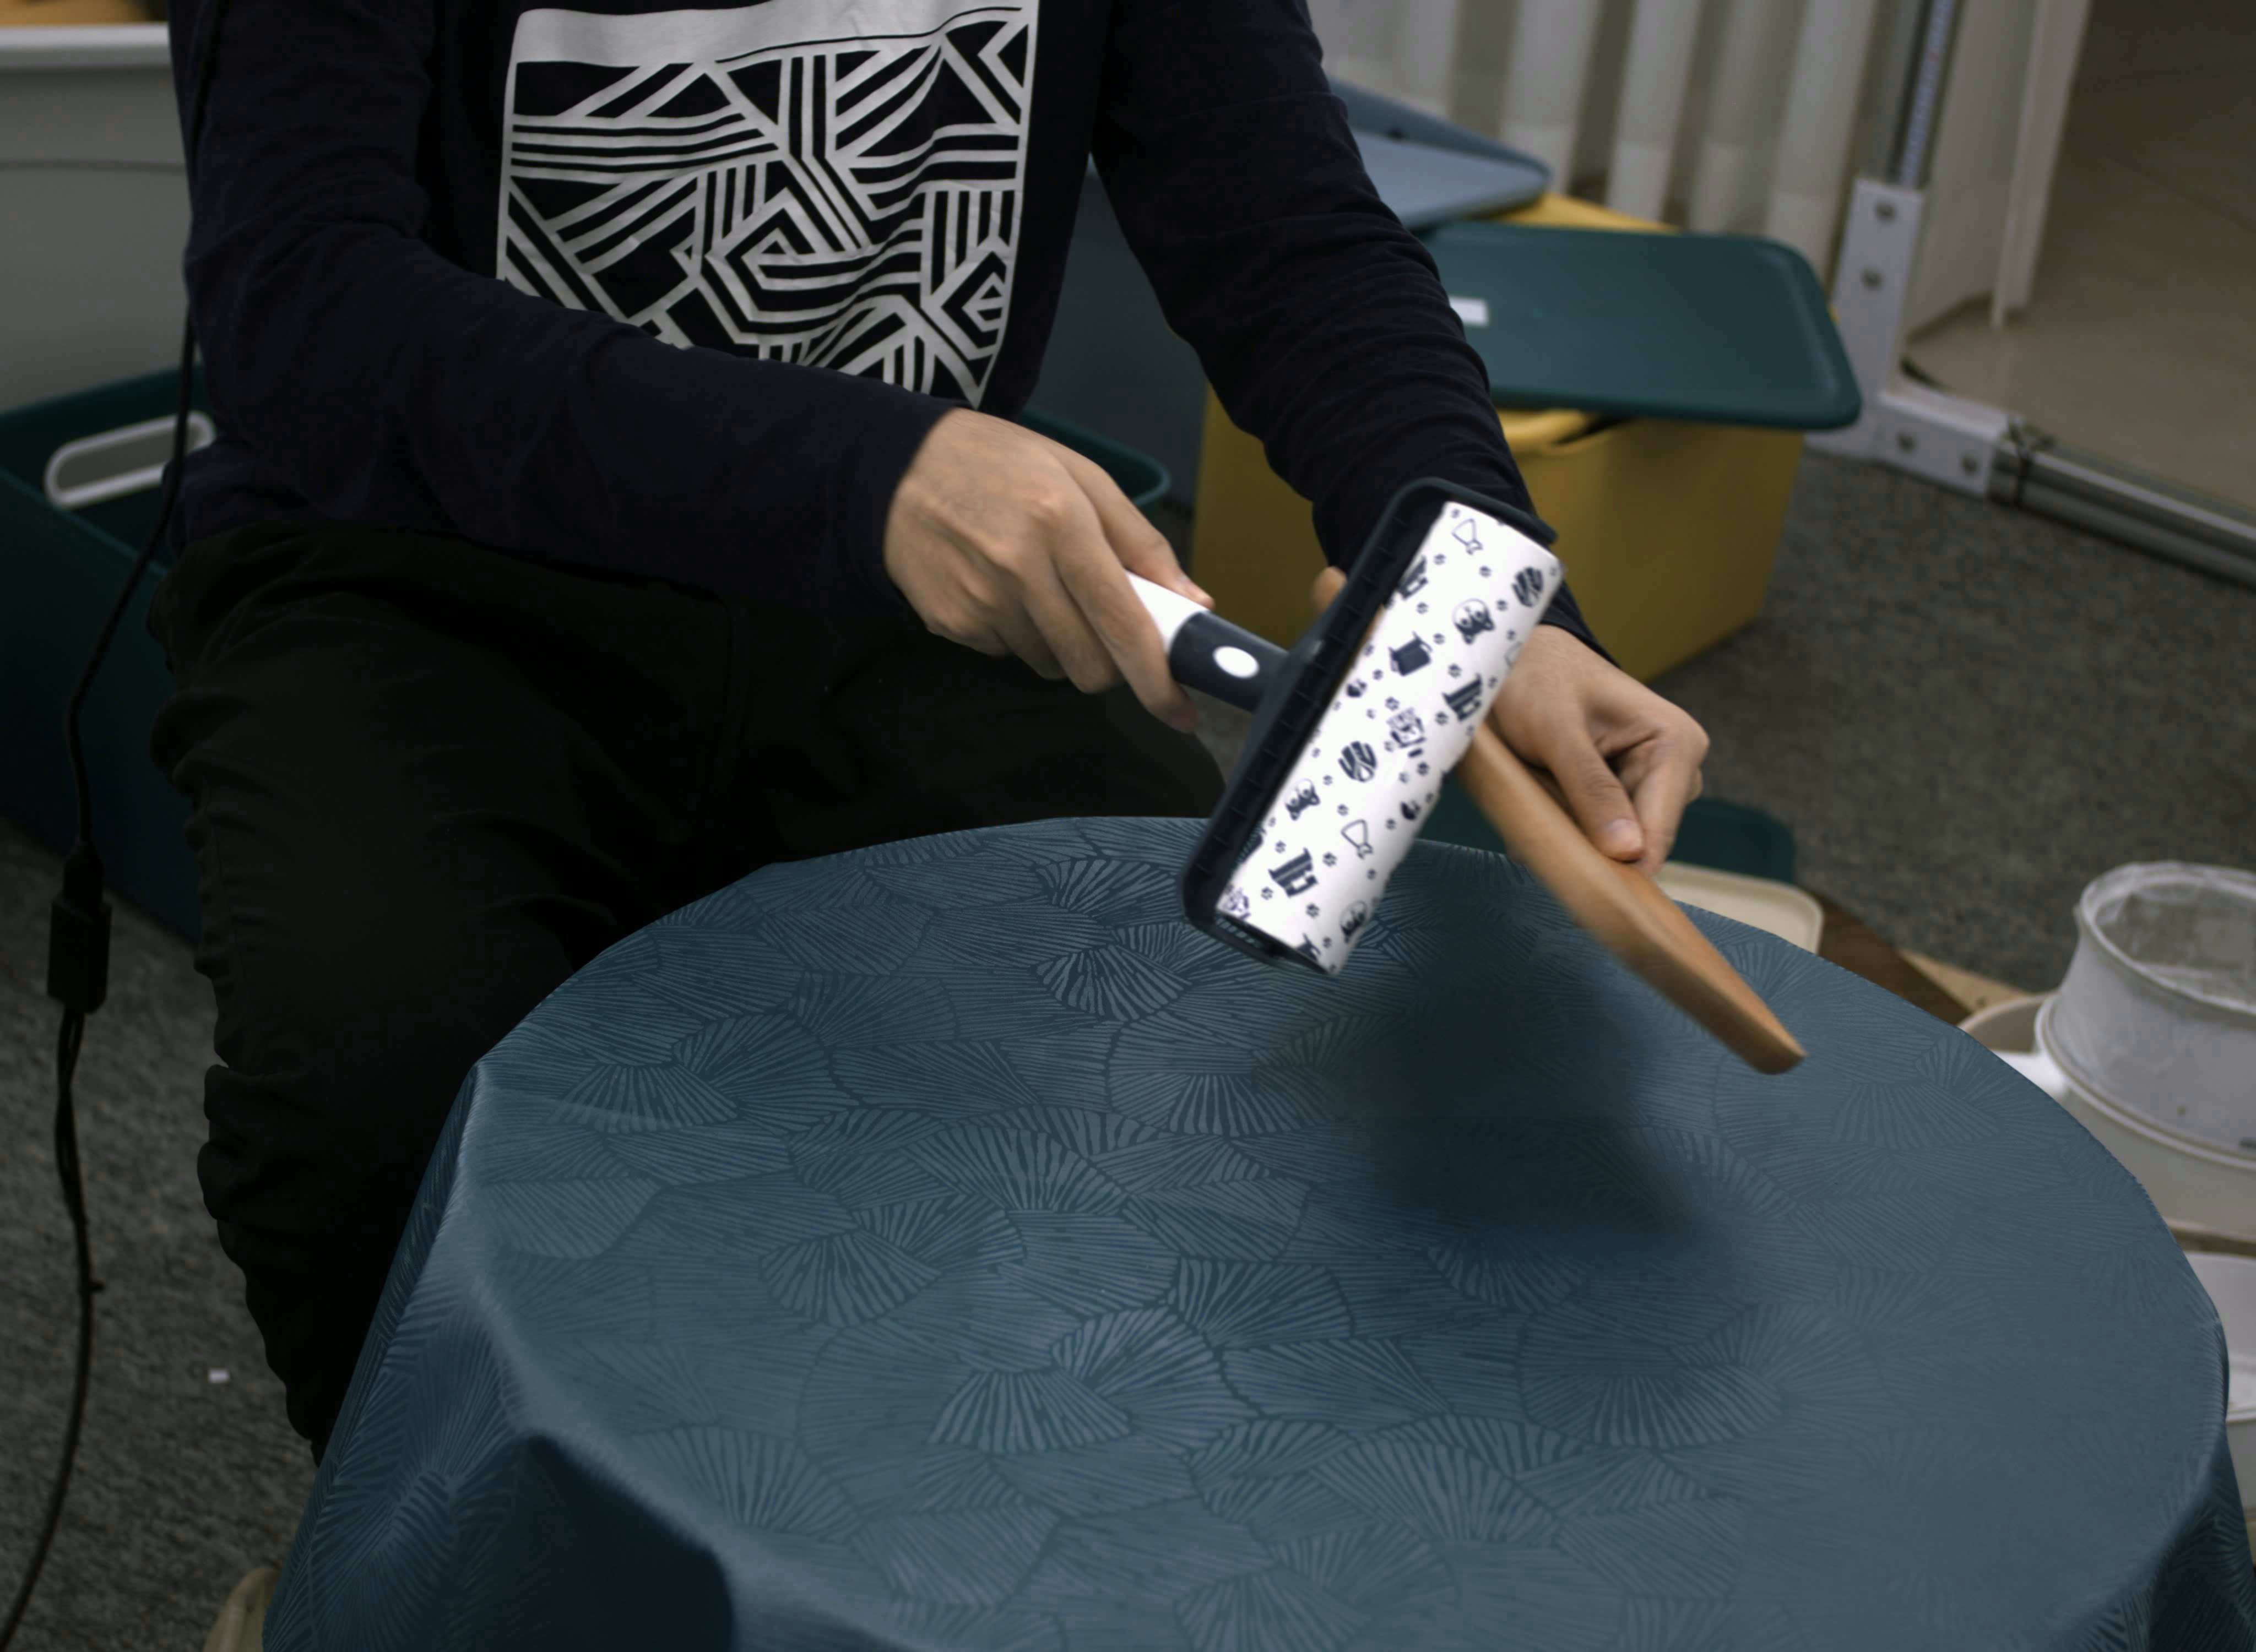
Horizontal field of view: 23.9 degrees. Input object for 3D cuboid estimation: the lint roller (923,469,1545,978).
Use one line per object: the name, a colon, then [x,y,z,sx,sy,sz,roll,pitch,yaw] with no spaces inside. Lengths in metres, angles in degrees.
lint roller: [0.012,-0.066,1.860,0.249,0.176,0.050,26,-5,37]

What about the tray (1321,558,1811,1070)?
tray: [0.148,-0.005,1.854,0.129,0.023,0.253,43,5,-38]
